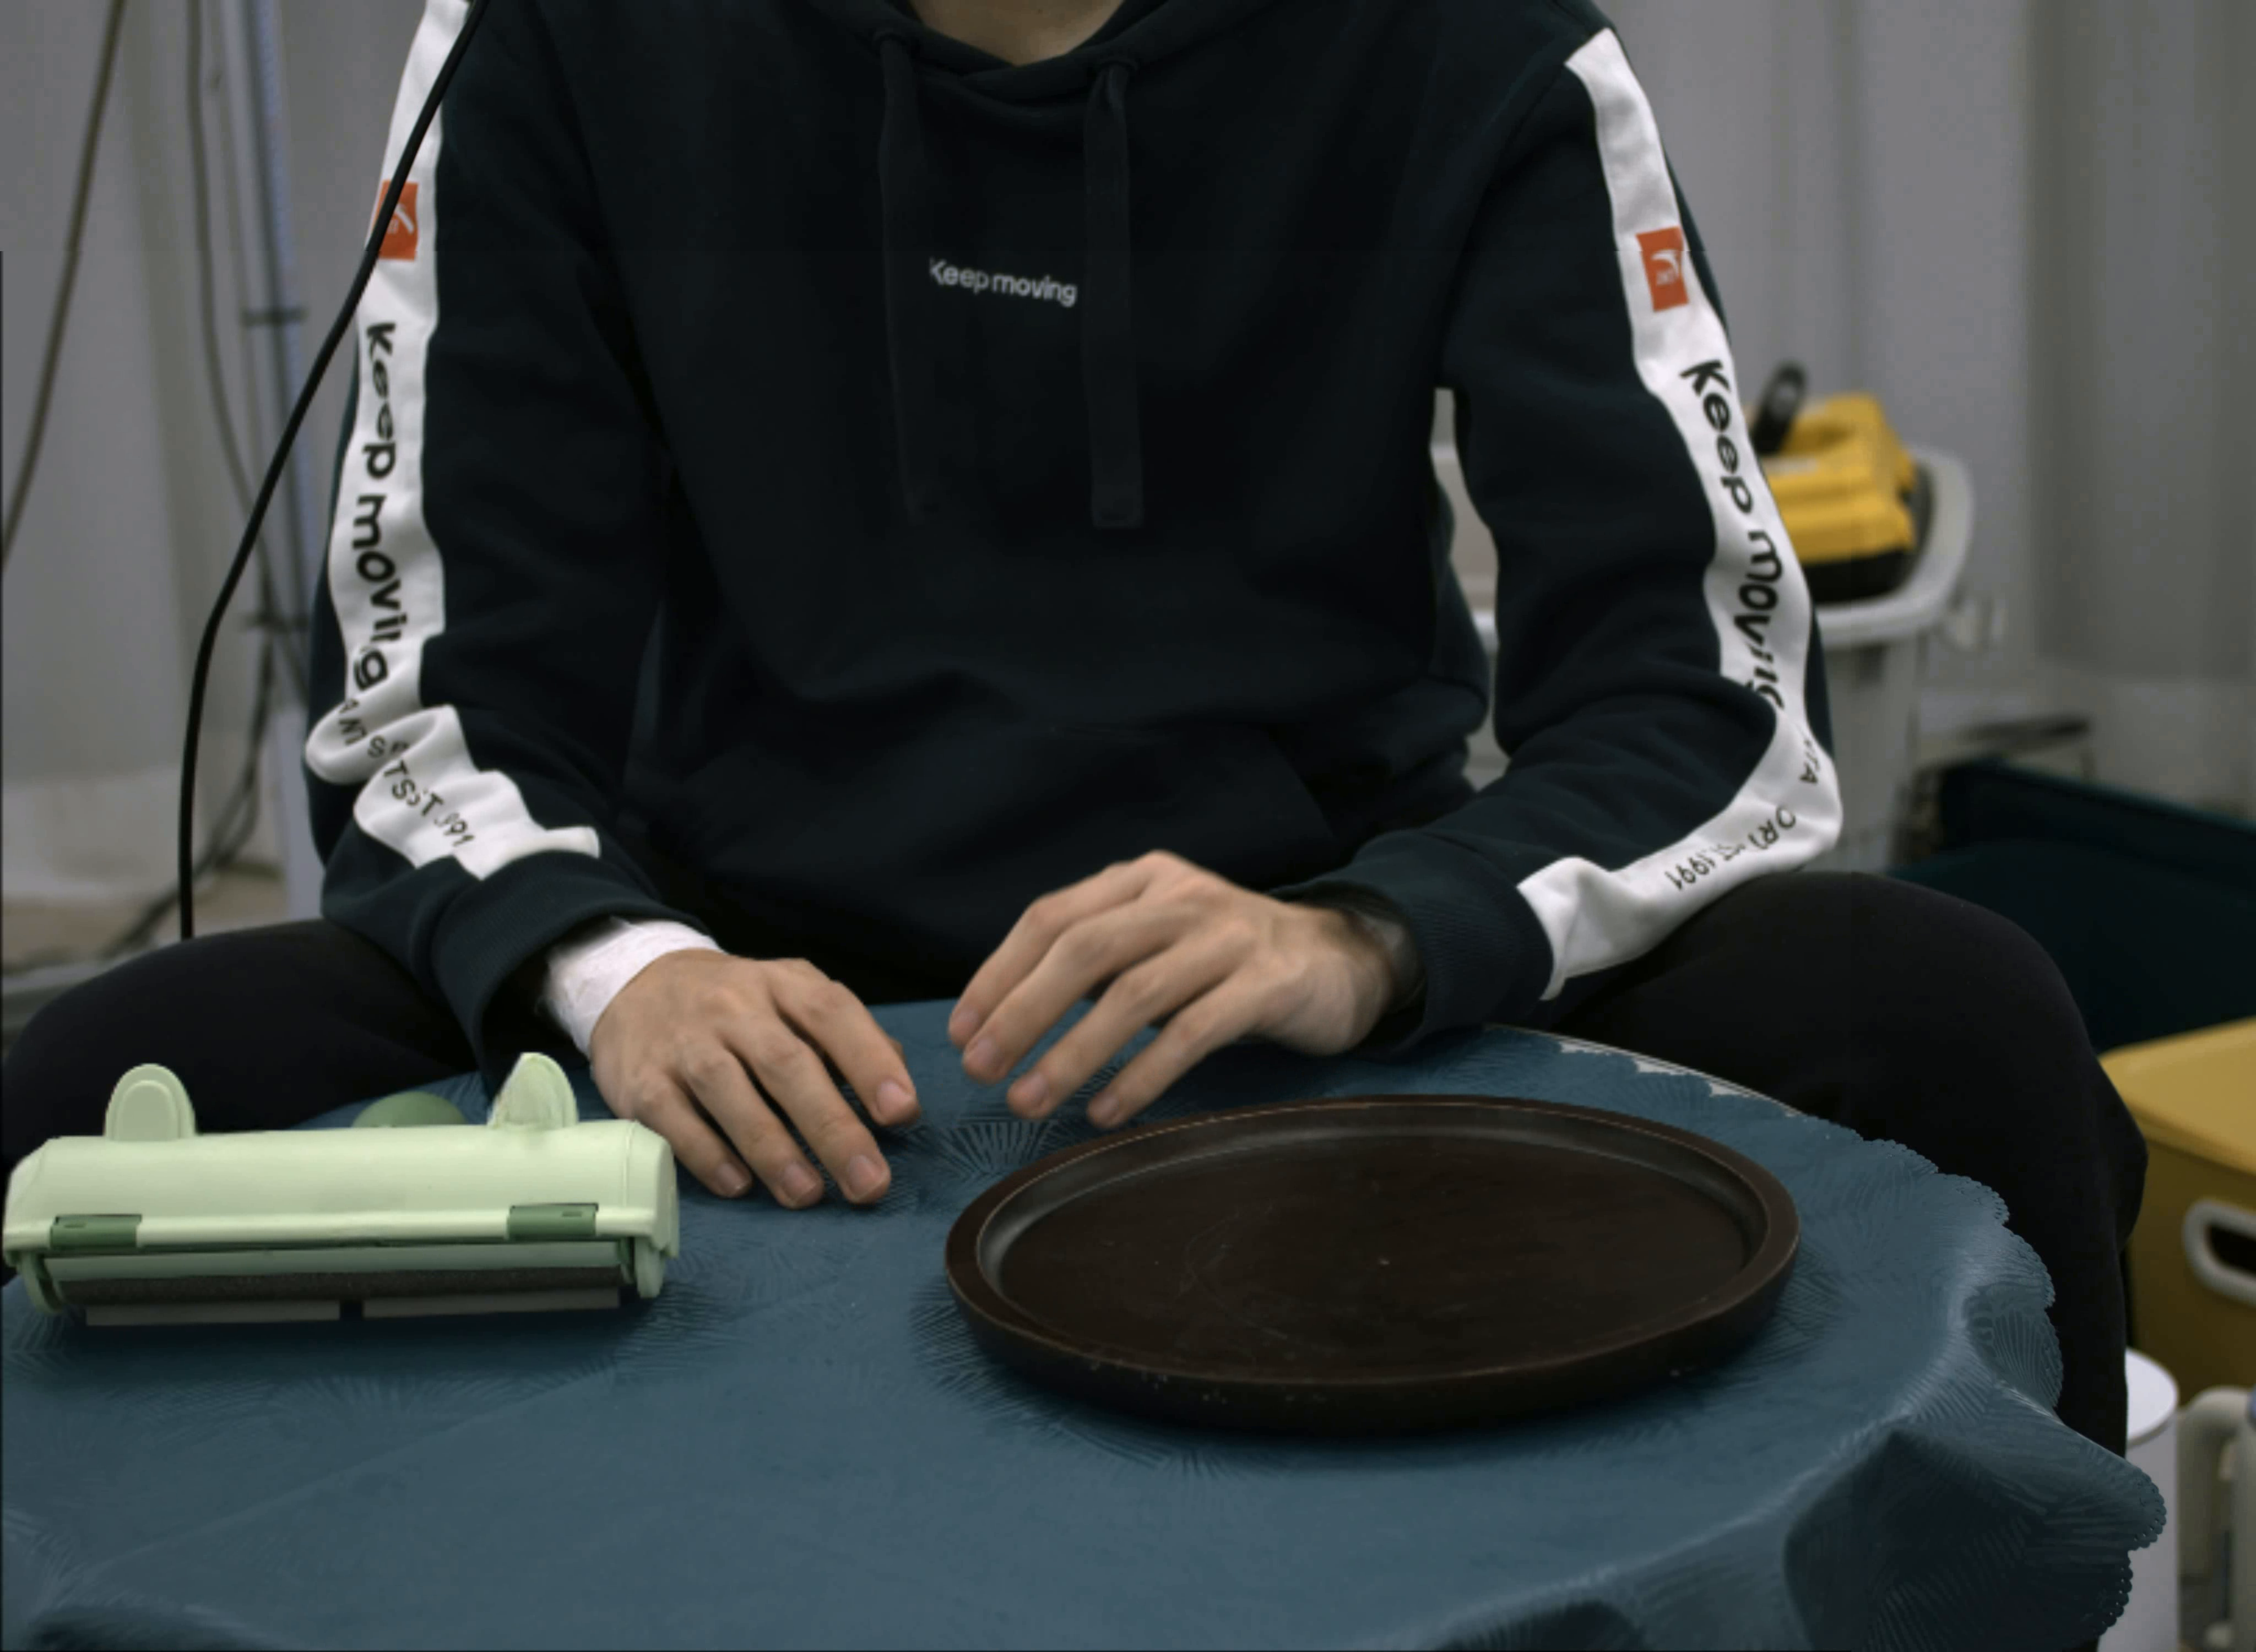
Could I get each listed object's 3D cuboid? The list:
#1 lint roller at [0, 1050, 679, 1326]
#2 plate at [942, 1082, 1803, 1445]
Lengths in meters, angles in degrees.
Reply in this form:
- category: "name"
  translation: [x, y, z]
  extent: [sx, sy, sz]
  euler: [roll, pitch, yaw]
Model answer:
- category: "lint roller"
  translation: [-0.232, 0.094, 1.685]
  extent: [0.198, 0.082, 0.185]
  euler: [-2, 18, 3]
- category: "plate"
  translation: [0.071, 0.128, 1.604]
  extent: [0.254, 0.029, 0.256]
  euler: [-4, 16, 1]
